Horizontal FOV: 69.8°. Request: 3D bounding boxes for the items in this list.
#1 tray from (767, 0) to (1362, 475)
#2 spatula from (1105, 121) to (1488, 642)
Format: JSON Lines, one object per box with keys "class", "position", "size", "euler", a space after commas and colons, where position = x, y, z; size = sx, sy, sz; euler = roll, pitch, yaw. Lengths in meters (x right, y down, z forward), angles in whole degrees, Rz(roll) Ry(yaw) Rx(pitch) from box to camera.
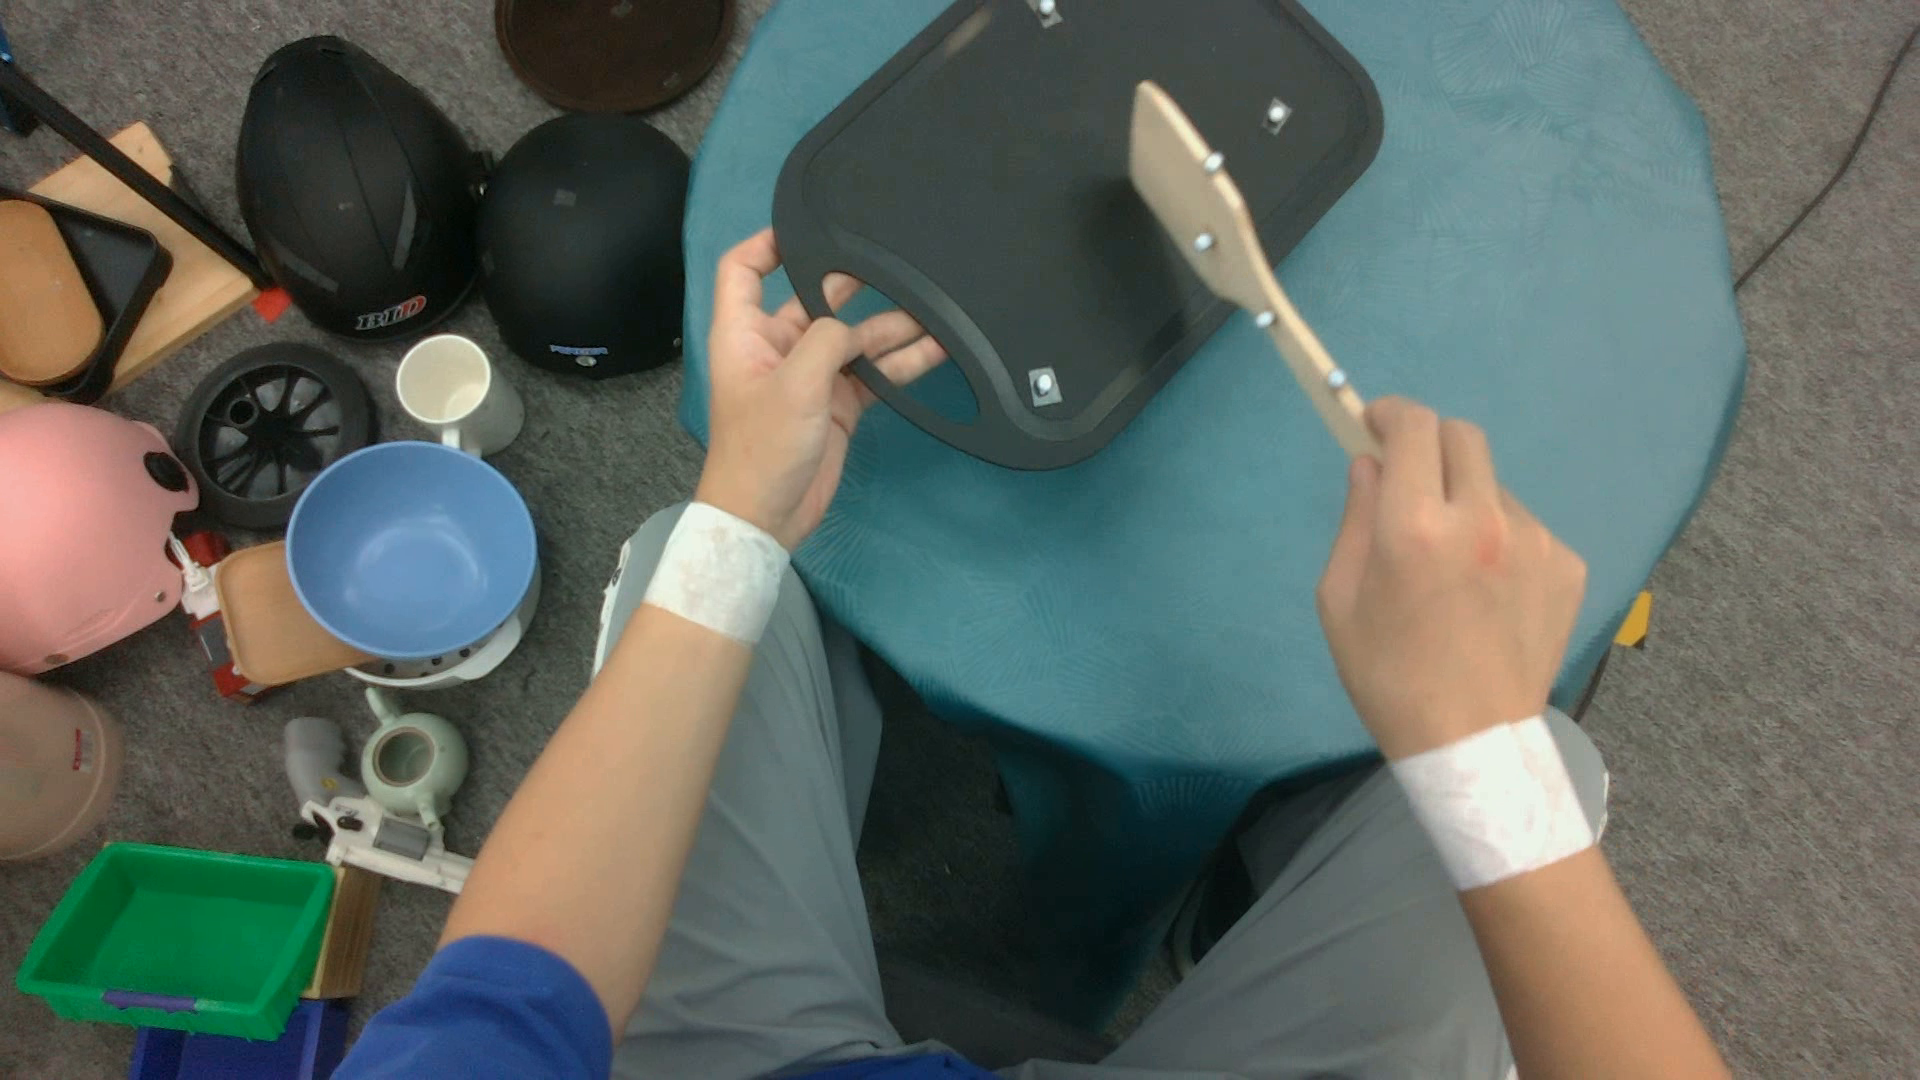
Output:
{"class": "tray", "position": [0.059, -0.186, 0.711], "size": [0.211, 0.010, 0.326], "euler": [44, 72, -1]}
{"class": "spatula", "position": [0.145, -0.075, 0.623], "size": [0.010, 0.072, 0.293], "euler": [-28, 66, -7]}
